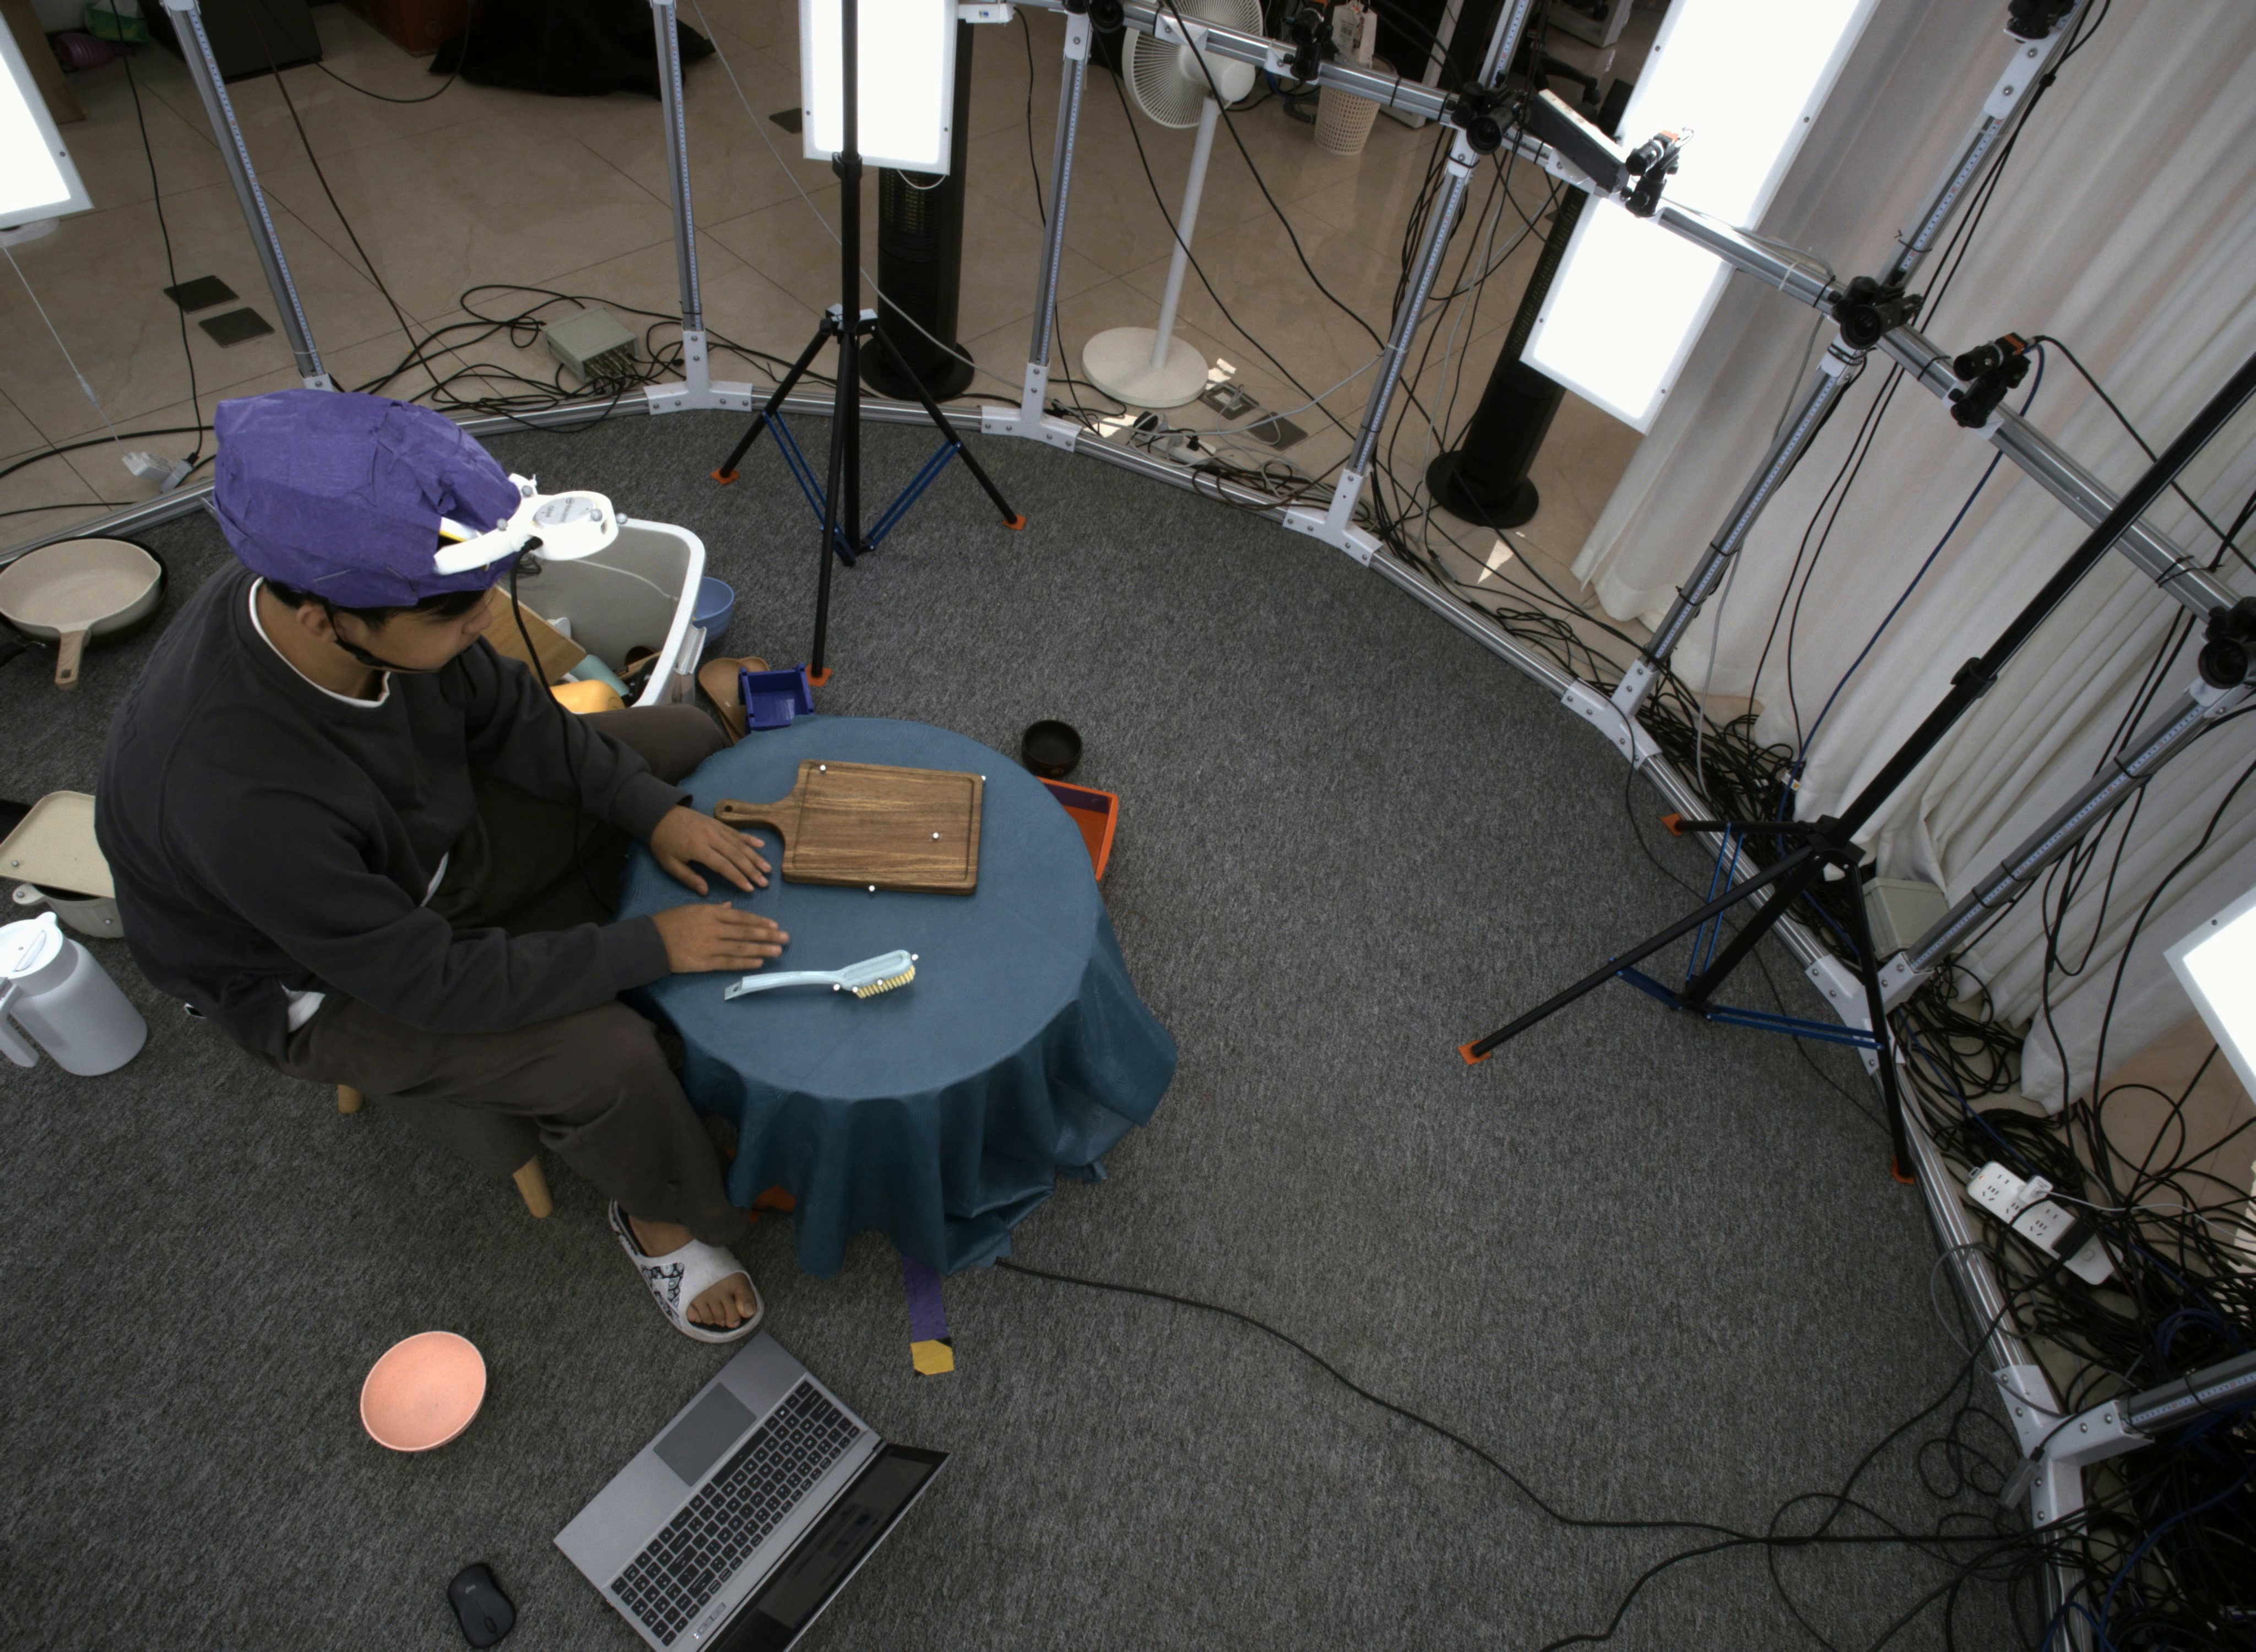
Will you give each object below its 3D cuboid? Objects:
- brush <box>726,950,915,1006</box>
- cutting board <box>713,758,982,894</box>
[{"bbox_3d":[-0.371,0.190,1.570,0.228,0.051,0.036,-9,43,-11],"label":"brush"},{"bbox_3d":[-0.371,-0.007,1.726,0.352,0.023,0.197,5,53,-10],"label":"cutting board"}]
